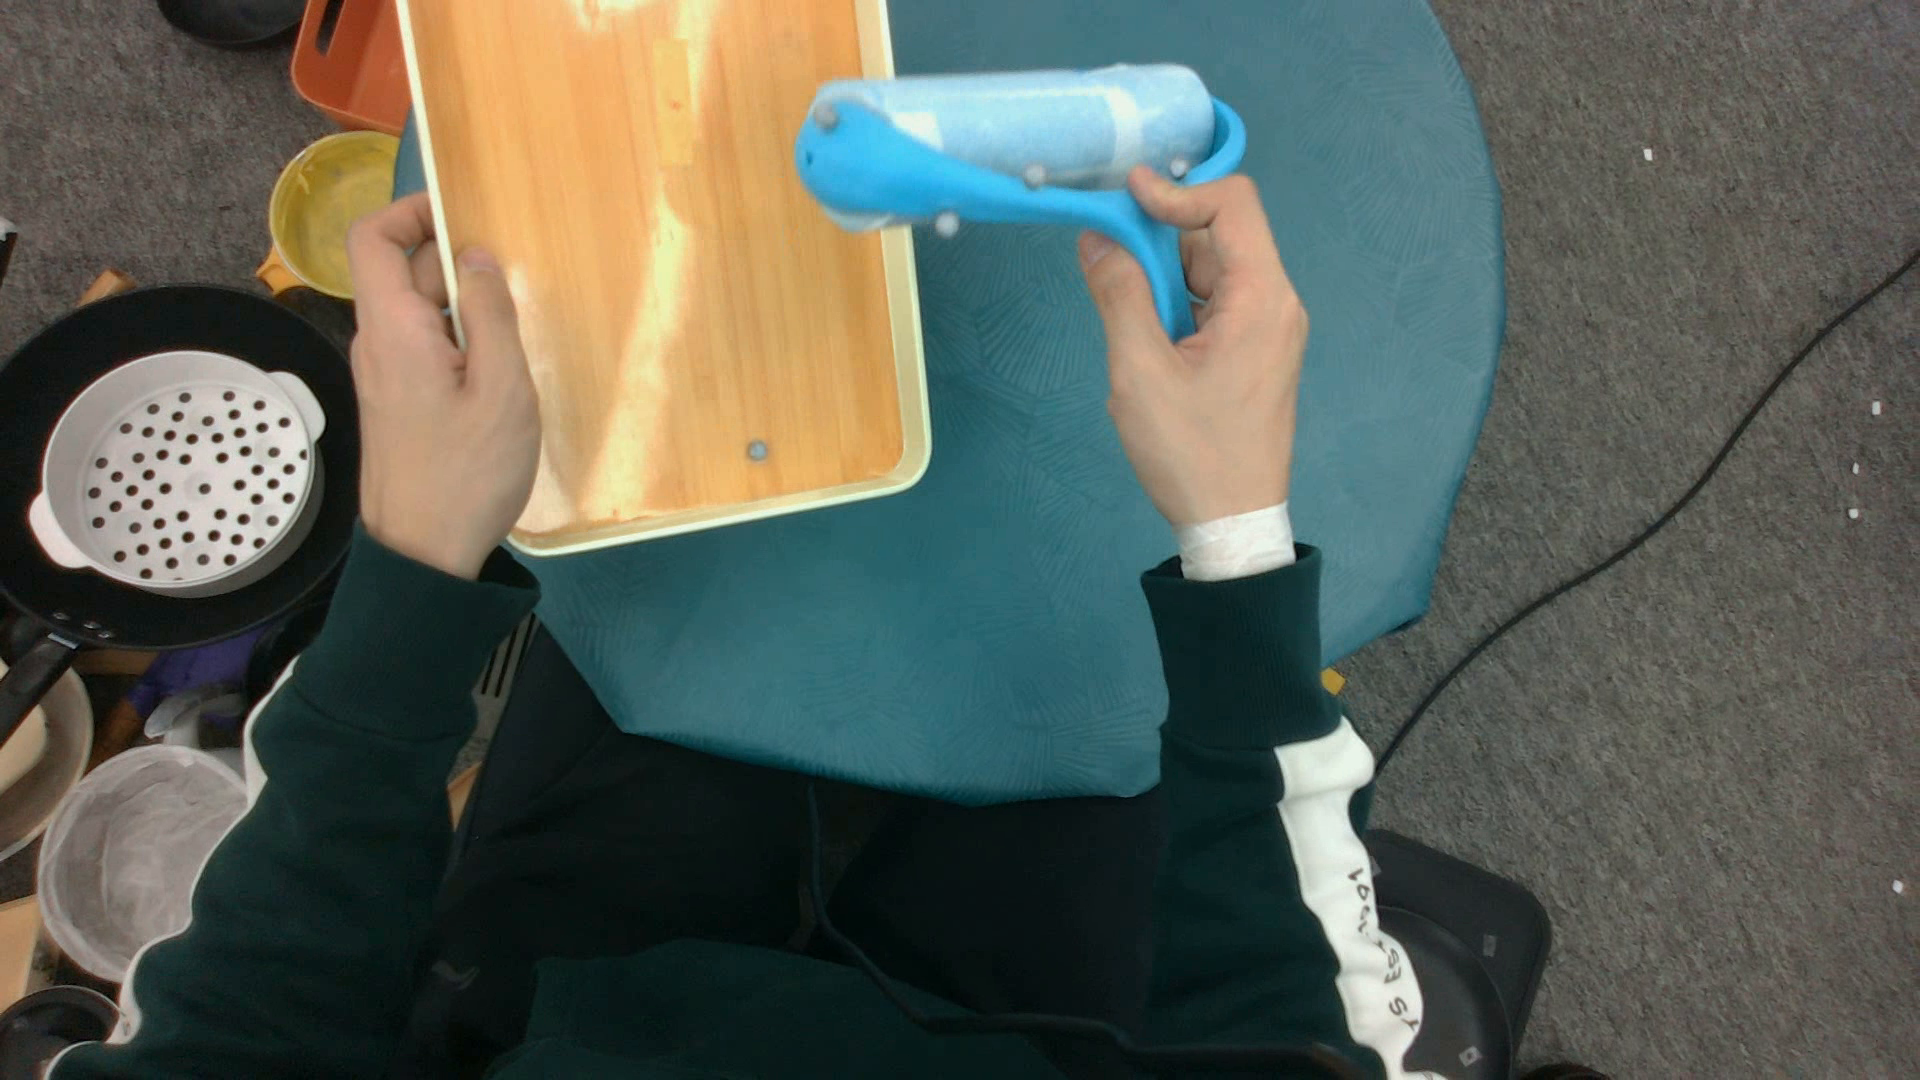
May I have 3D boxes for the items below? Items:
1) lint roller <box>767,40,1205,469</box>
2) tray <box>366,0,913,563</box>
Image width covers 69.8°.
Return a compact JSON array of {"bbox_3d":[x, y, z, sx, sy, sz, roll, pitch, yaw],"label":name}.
[{"bbox_3d":[0.046,-0.119,0.549,0.230,0.067,0.180,-28,83,-47],"label":"lint roller"},{"bbox_3d":[-0.127,-0.153,0.563,0.192,0.027,0.299,-13,104,-24],"label":"tray"}]
